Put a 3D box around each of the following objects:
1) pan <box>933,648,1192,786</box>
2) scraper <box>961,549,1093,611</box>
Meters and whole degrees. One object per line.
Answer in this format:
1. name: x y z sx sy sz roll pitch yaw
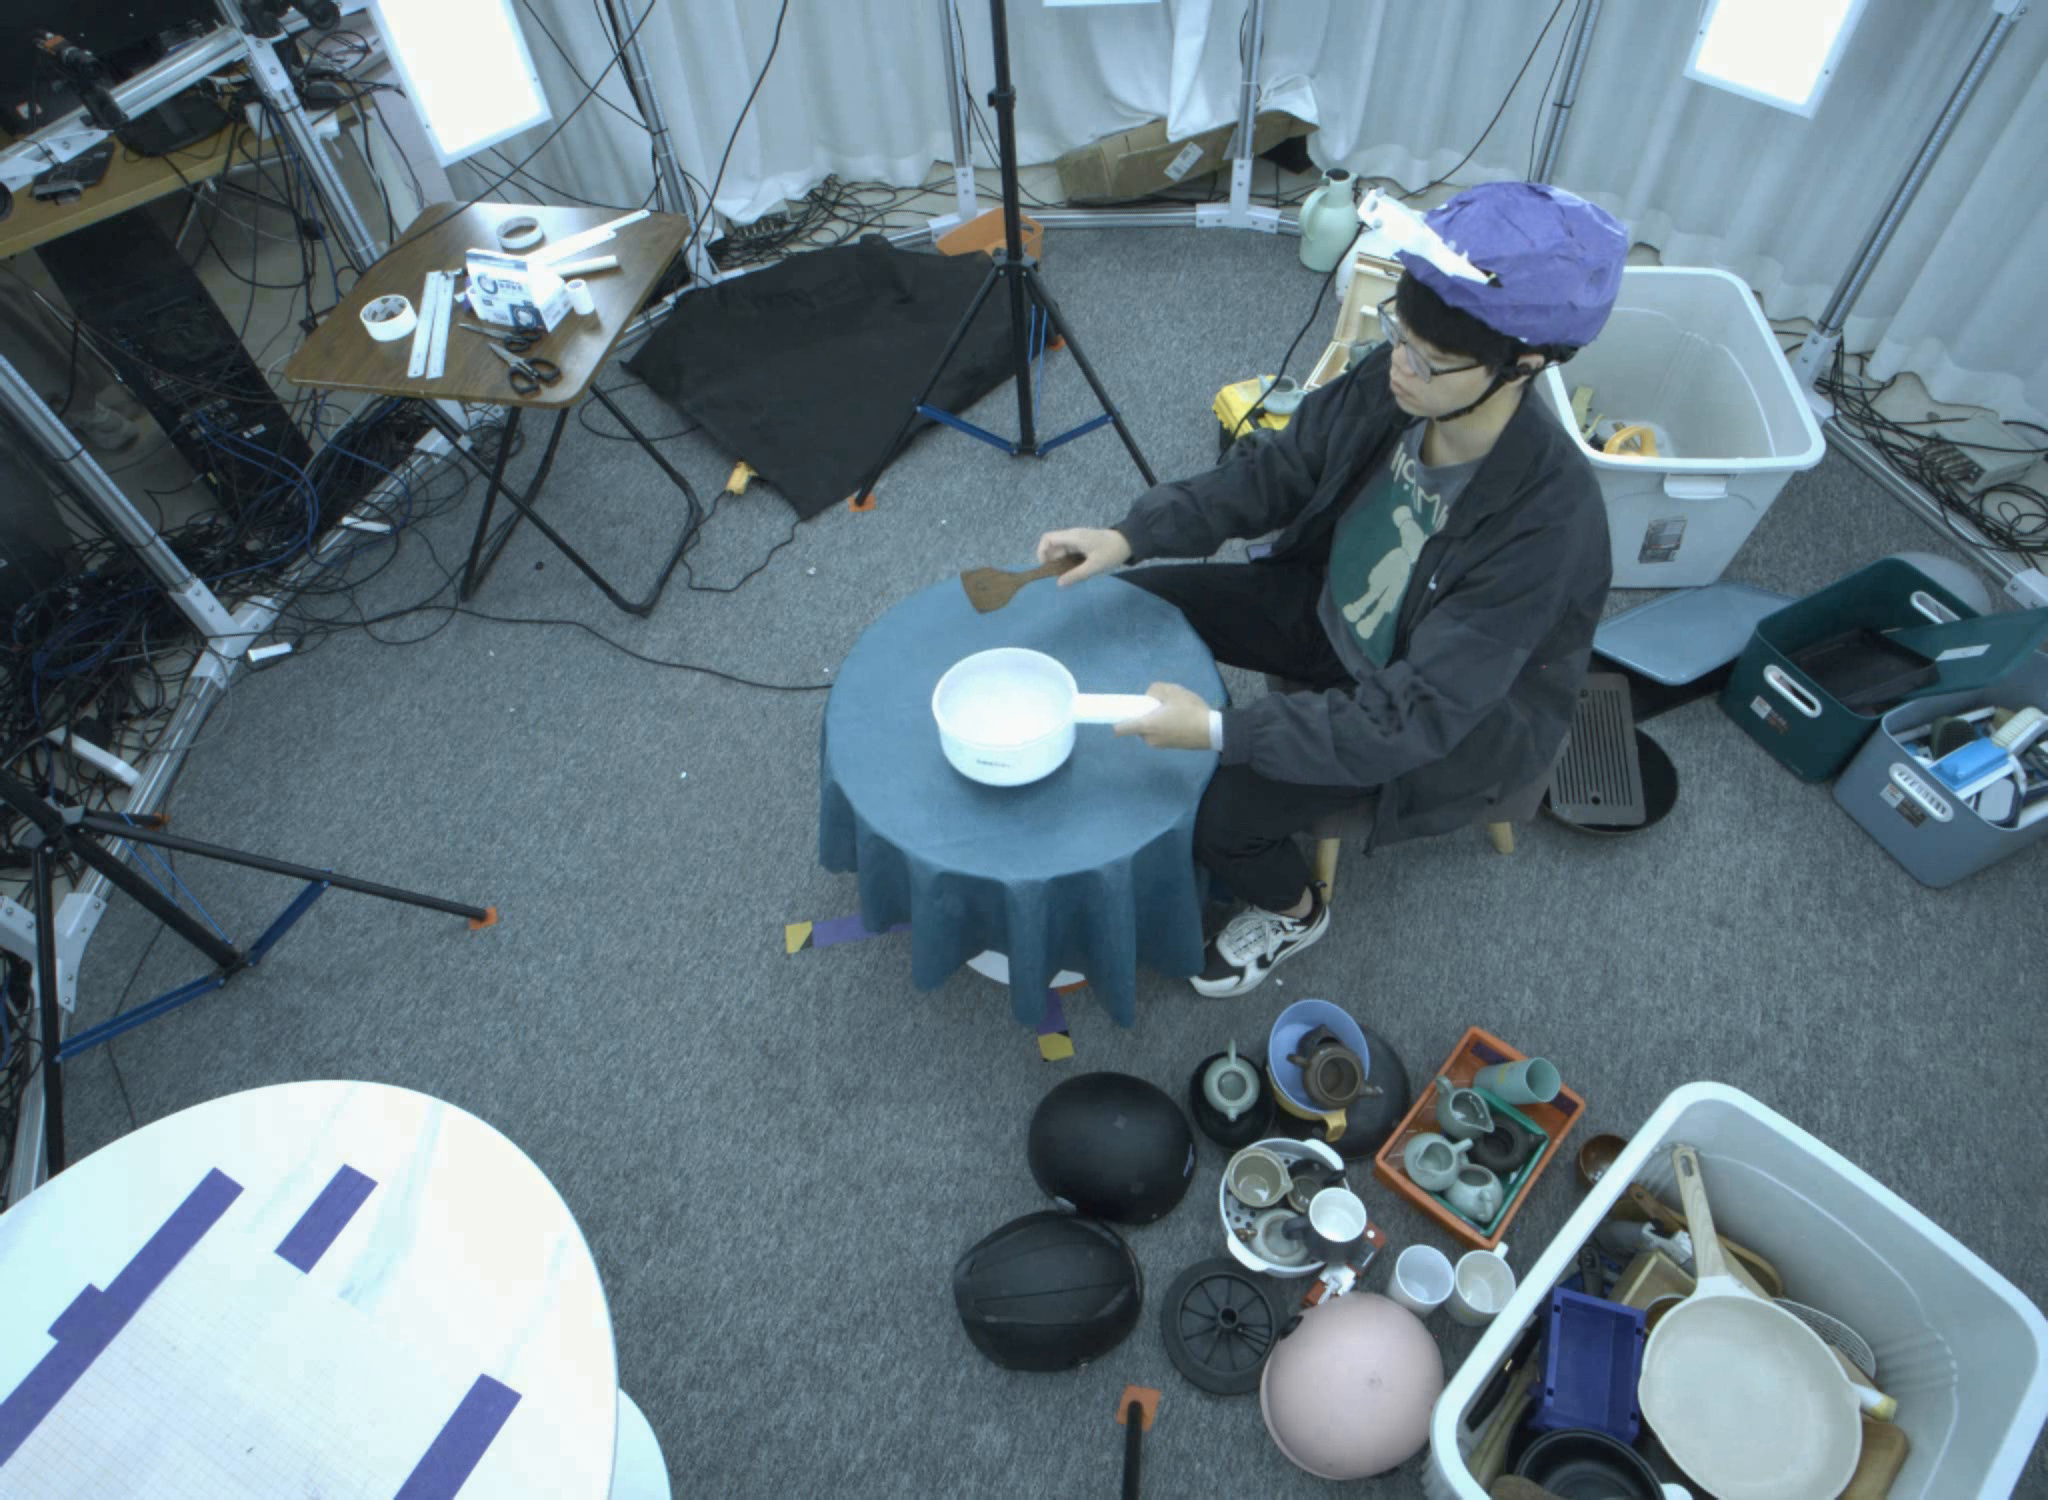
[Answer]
1. pan: 0.054 -0.038 1.717 0.354 0.103 0.199 4 46 4
2. scraper: 0.008 -0.263 1.826 0.214 0.011 0.075 -19 81 -22
